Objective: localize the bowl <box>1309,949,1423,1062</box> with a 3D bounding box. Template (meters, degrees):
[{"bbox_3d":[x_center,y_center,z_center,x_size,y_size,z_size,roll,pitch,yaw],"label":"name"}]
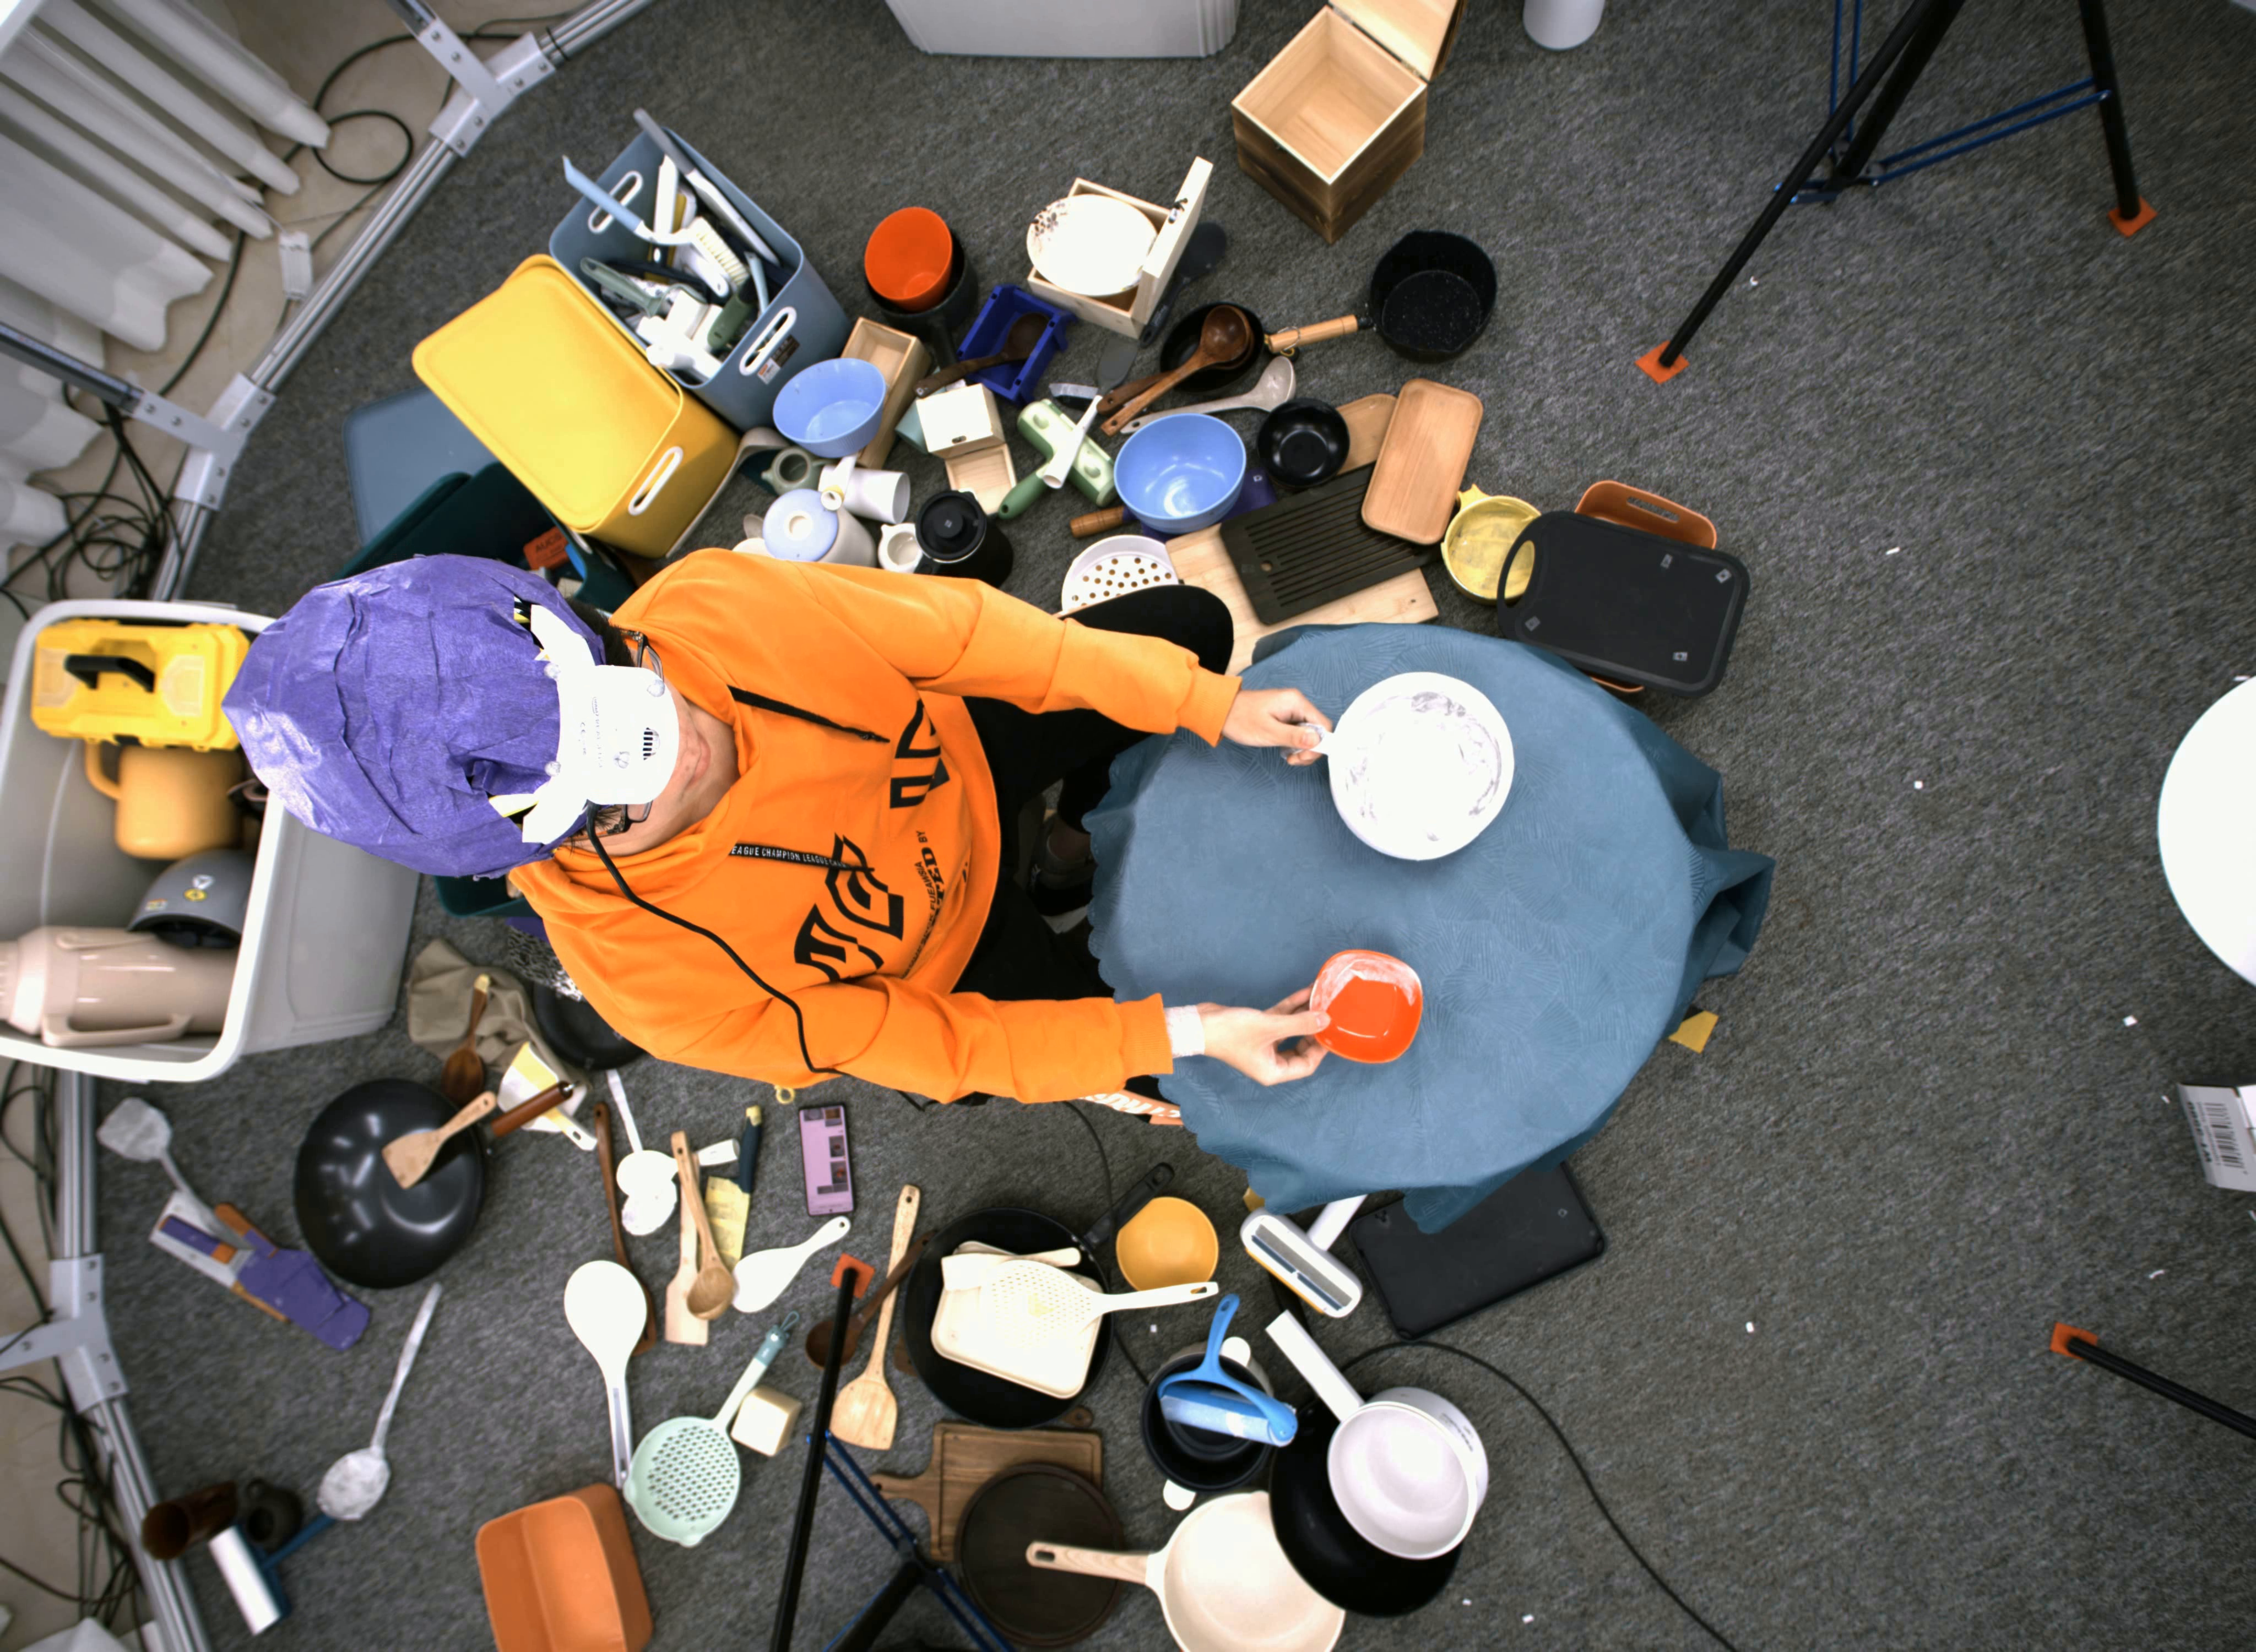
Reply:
[{"bbox_3d":[0.238,0.178,1.392,0.119,0.051,0.118,-1,87,8],"label":"bowl"}]

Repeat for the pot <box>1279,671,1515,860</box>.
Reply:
[{"bbox_3d":[0.267,-0.064,1.397,0.234,0.137,0.178,14,88,10],"label":"pot"}]
